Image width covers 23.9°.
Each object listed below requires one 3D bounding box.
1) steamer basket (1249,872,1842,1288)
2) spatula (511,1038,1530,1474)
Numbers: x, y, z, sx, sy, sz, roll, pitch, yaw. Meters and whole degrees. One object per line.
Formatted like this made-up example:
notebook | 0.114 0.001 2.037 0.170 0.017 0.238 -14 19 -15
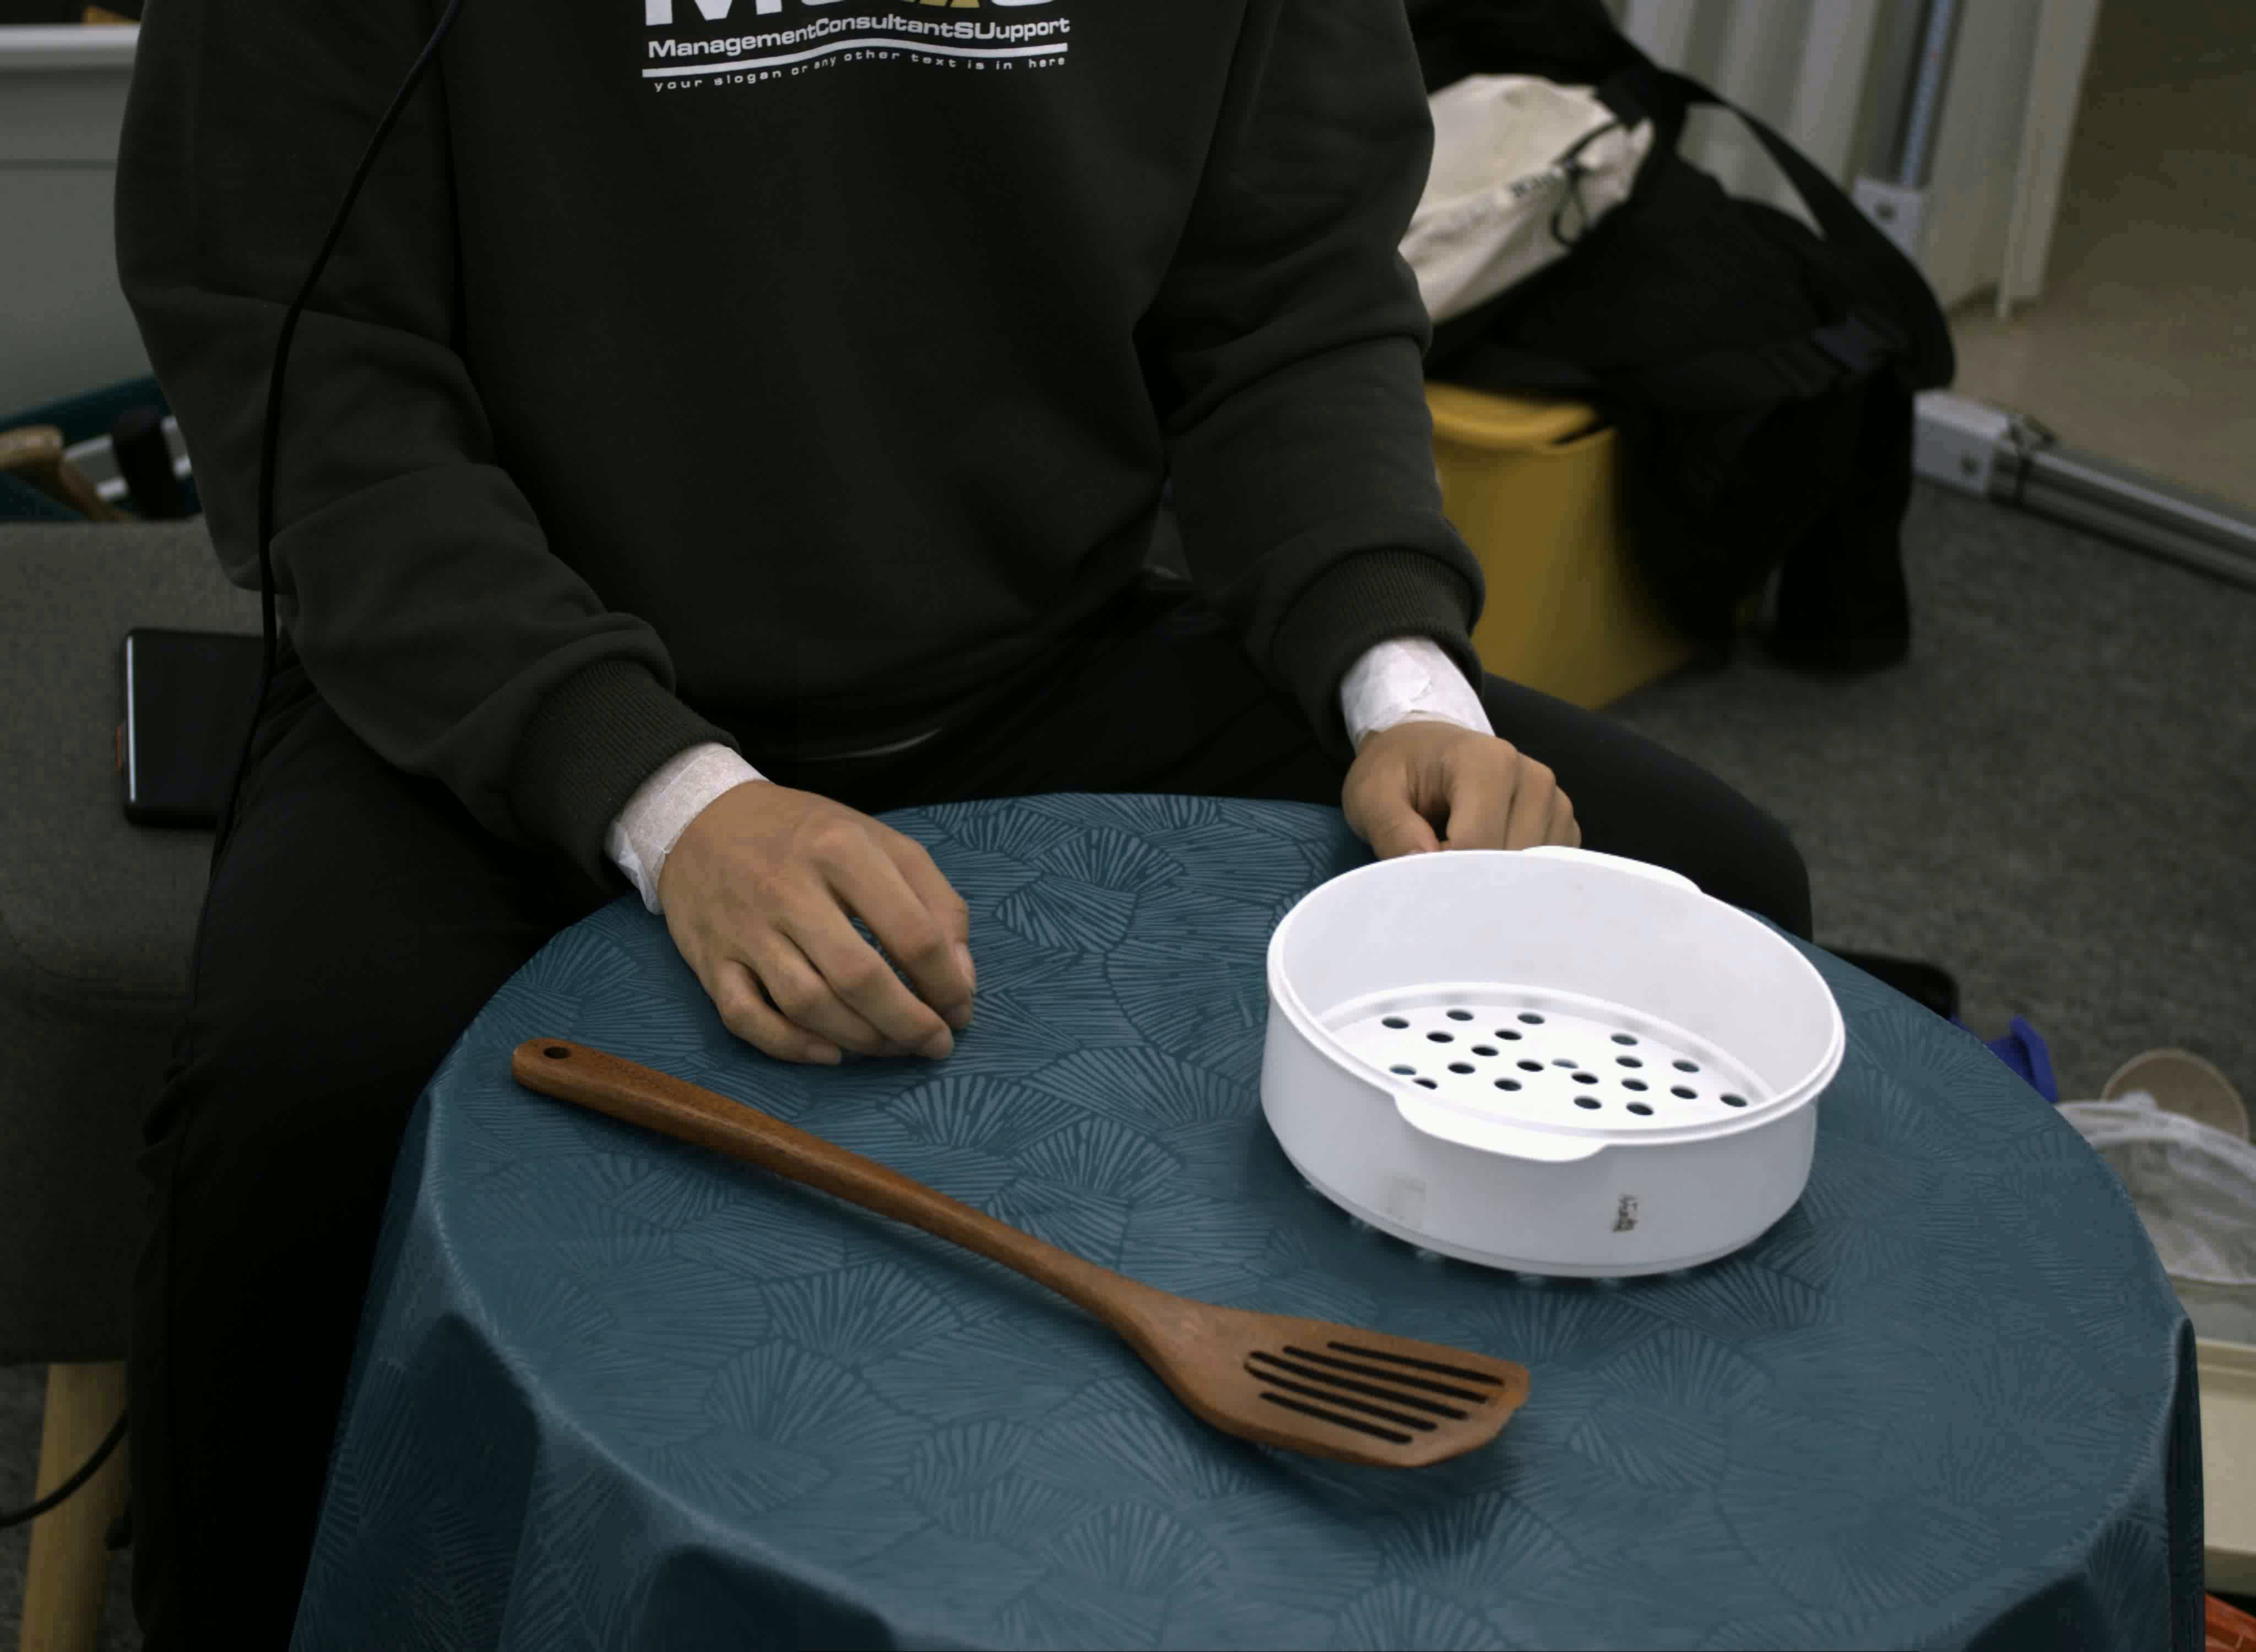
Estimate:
steamer basket | 0.142 0.088 1.841 0.202 0.069 0.231 14 24 11
spatula | -0.049 0.138 1.744 0.387 0.023 0.085 20 27 27
